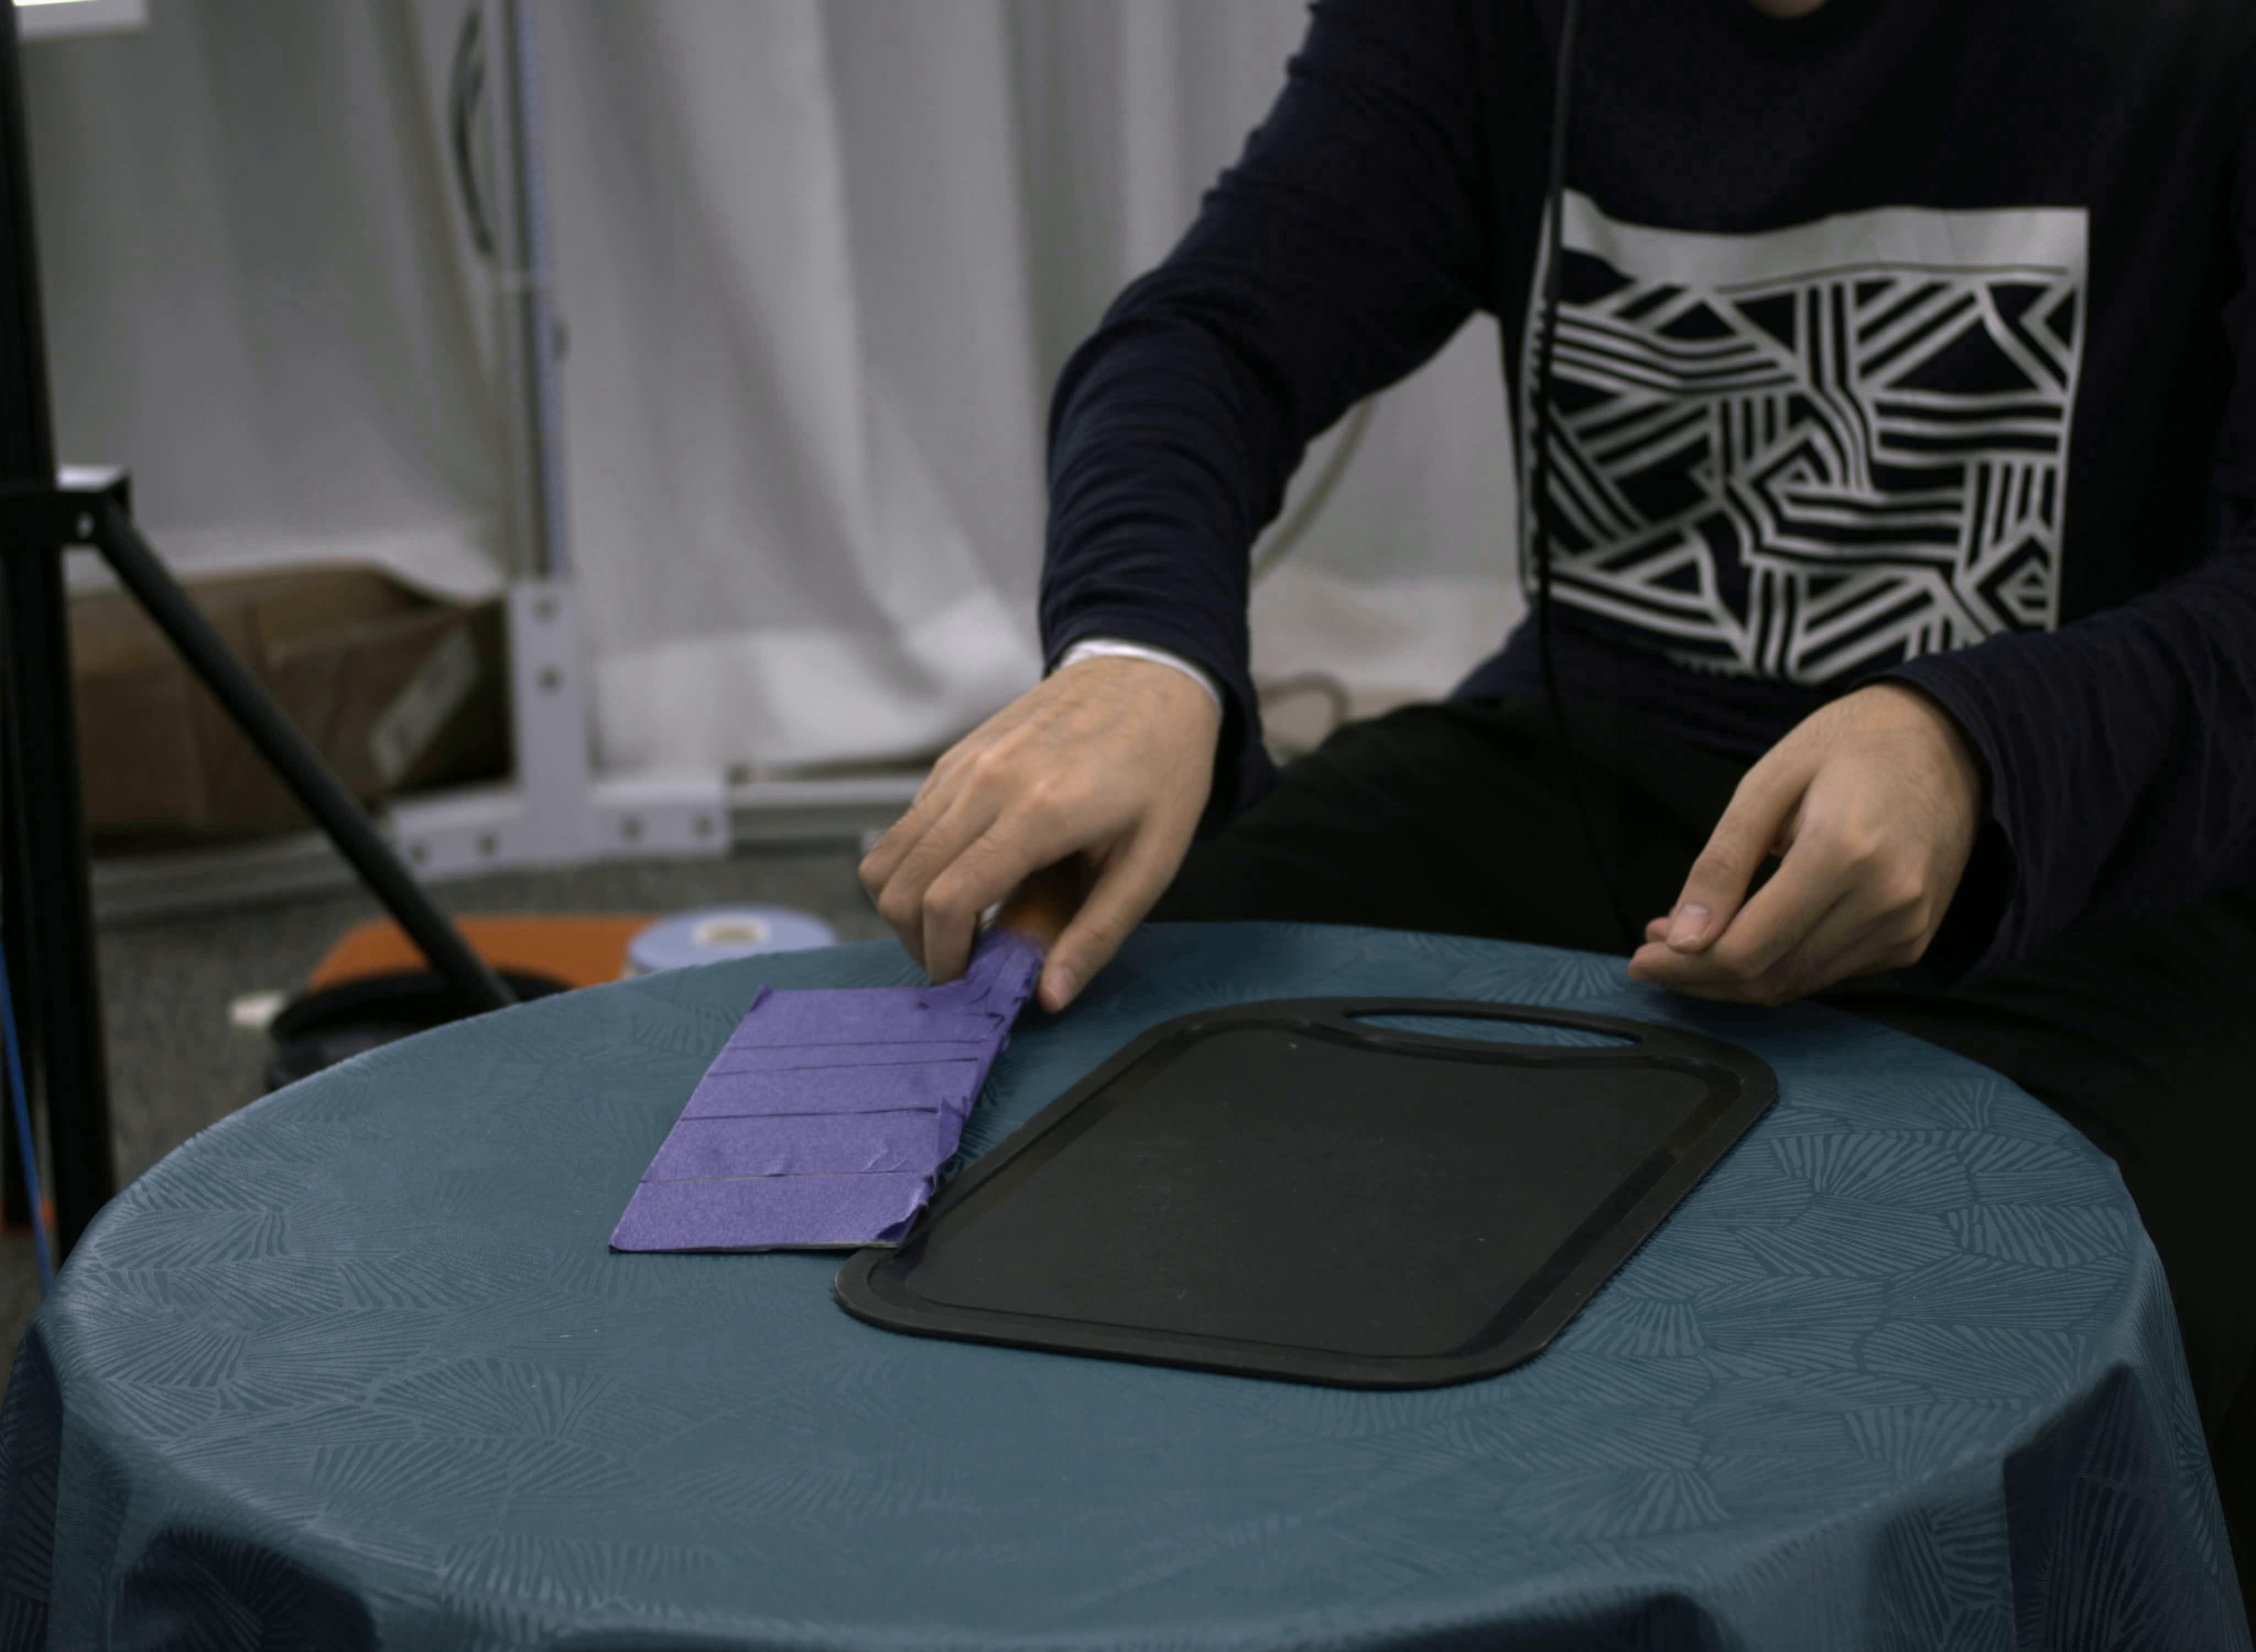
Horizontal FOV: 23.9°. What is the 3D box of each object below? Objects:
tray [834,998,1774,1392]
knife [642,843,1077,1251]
[{"bbox_3d":[0.061,0.100,1.569,0.214,0.010,0.321,5,17,24],"label":"tray"},{"bbox_3d":[-0.082,0.066,1.664,0.104,0.032,0.314,-1,17,9],"label":"knife"}]
